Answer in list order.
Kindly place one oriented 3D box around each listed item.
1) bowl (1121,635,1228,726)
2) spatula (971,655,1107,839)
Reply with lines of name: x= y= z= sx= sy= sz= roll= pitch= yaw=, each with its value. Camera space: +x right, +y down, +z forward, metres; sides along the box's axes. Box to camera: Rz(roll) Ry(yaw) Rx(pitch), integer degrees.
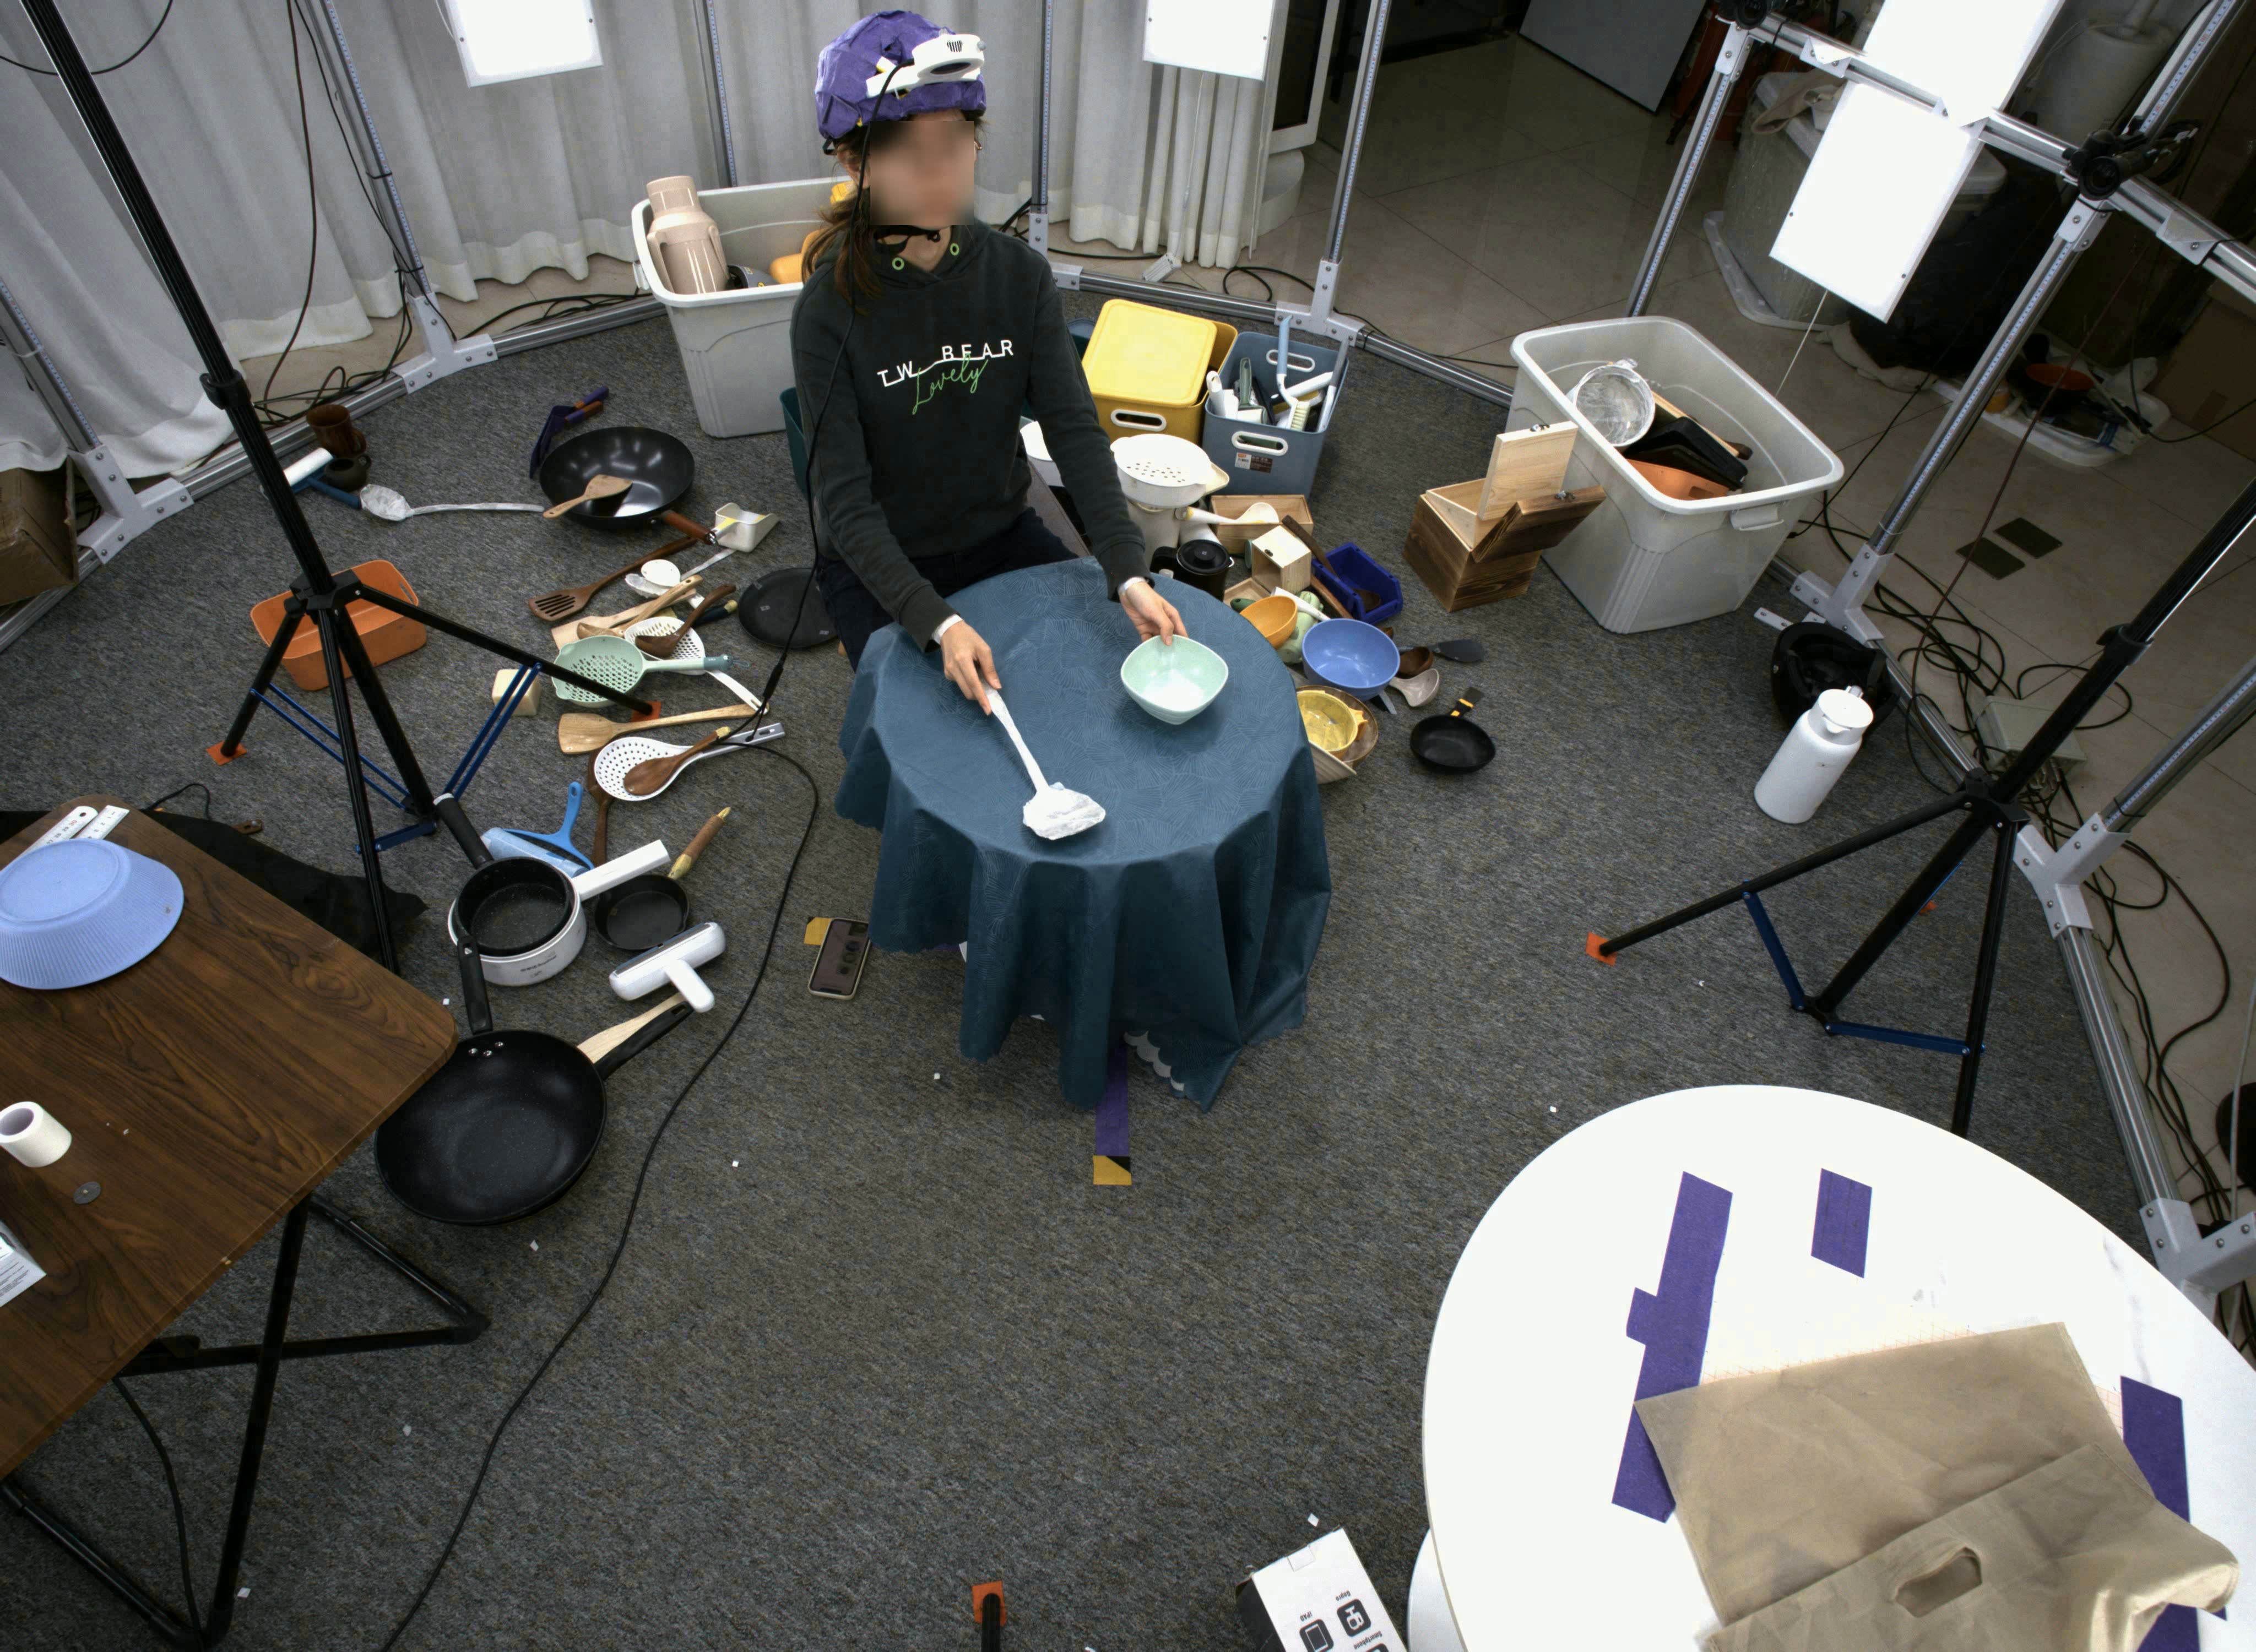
bowl: x=0.064 y=-0.198 z=1.824 sx=0.151 sy=0.057 sz=0.155 roll=2 pitch=52 yaw=-3
spatula: x=-0.143 y=-0.117 z=1.740 sx=0.099 sy=0.044 sz=0.372 roll=-19 pitch=58 yaw=-17
